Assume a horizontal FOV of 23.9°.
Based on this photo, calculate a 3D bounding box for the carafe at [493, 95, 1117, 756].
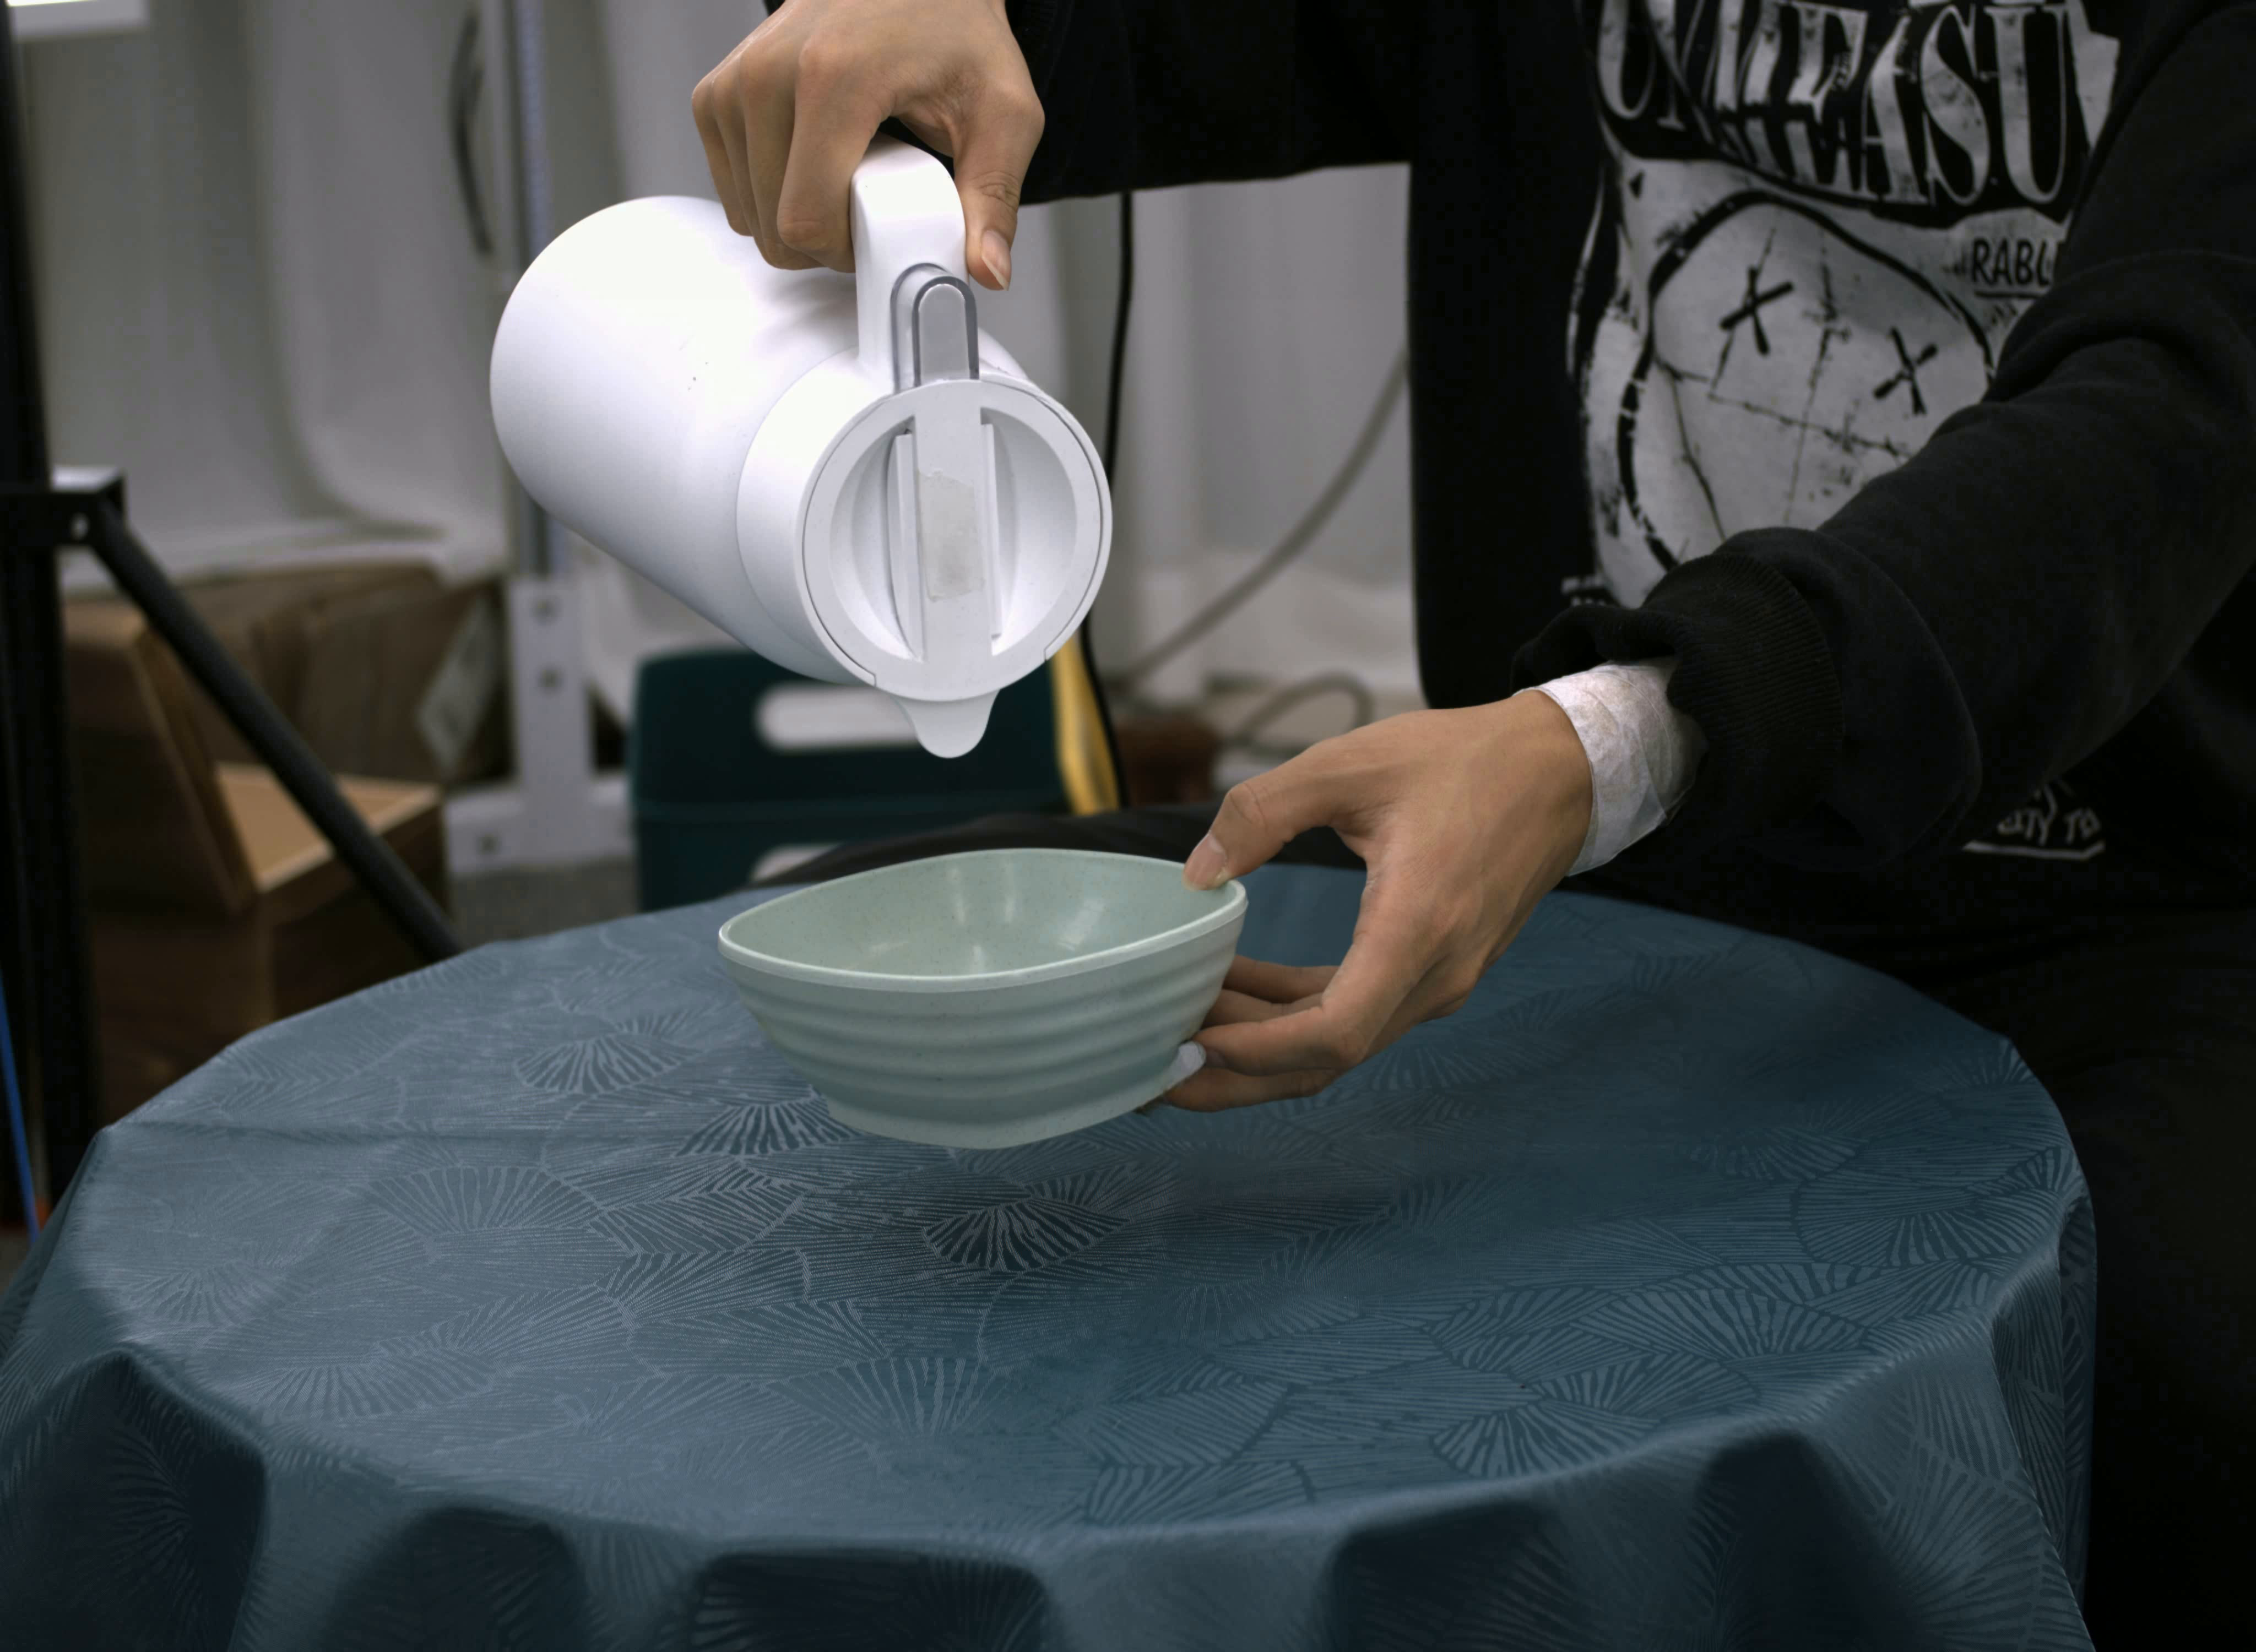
[{"bbox_3d":[-0.103,-0.133,1.620,0.121,0.172,0.274,-10,18,-19],"label":"carafe"}]

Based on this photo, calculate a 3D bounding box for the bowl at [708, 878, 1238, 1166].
[{"bbox_3d":[-0.043,0.057,1.513,0.150,0.059,0.152,-2,10,-1],"label":"bowl"}]
